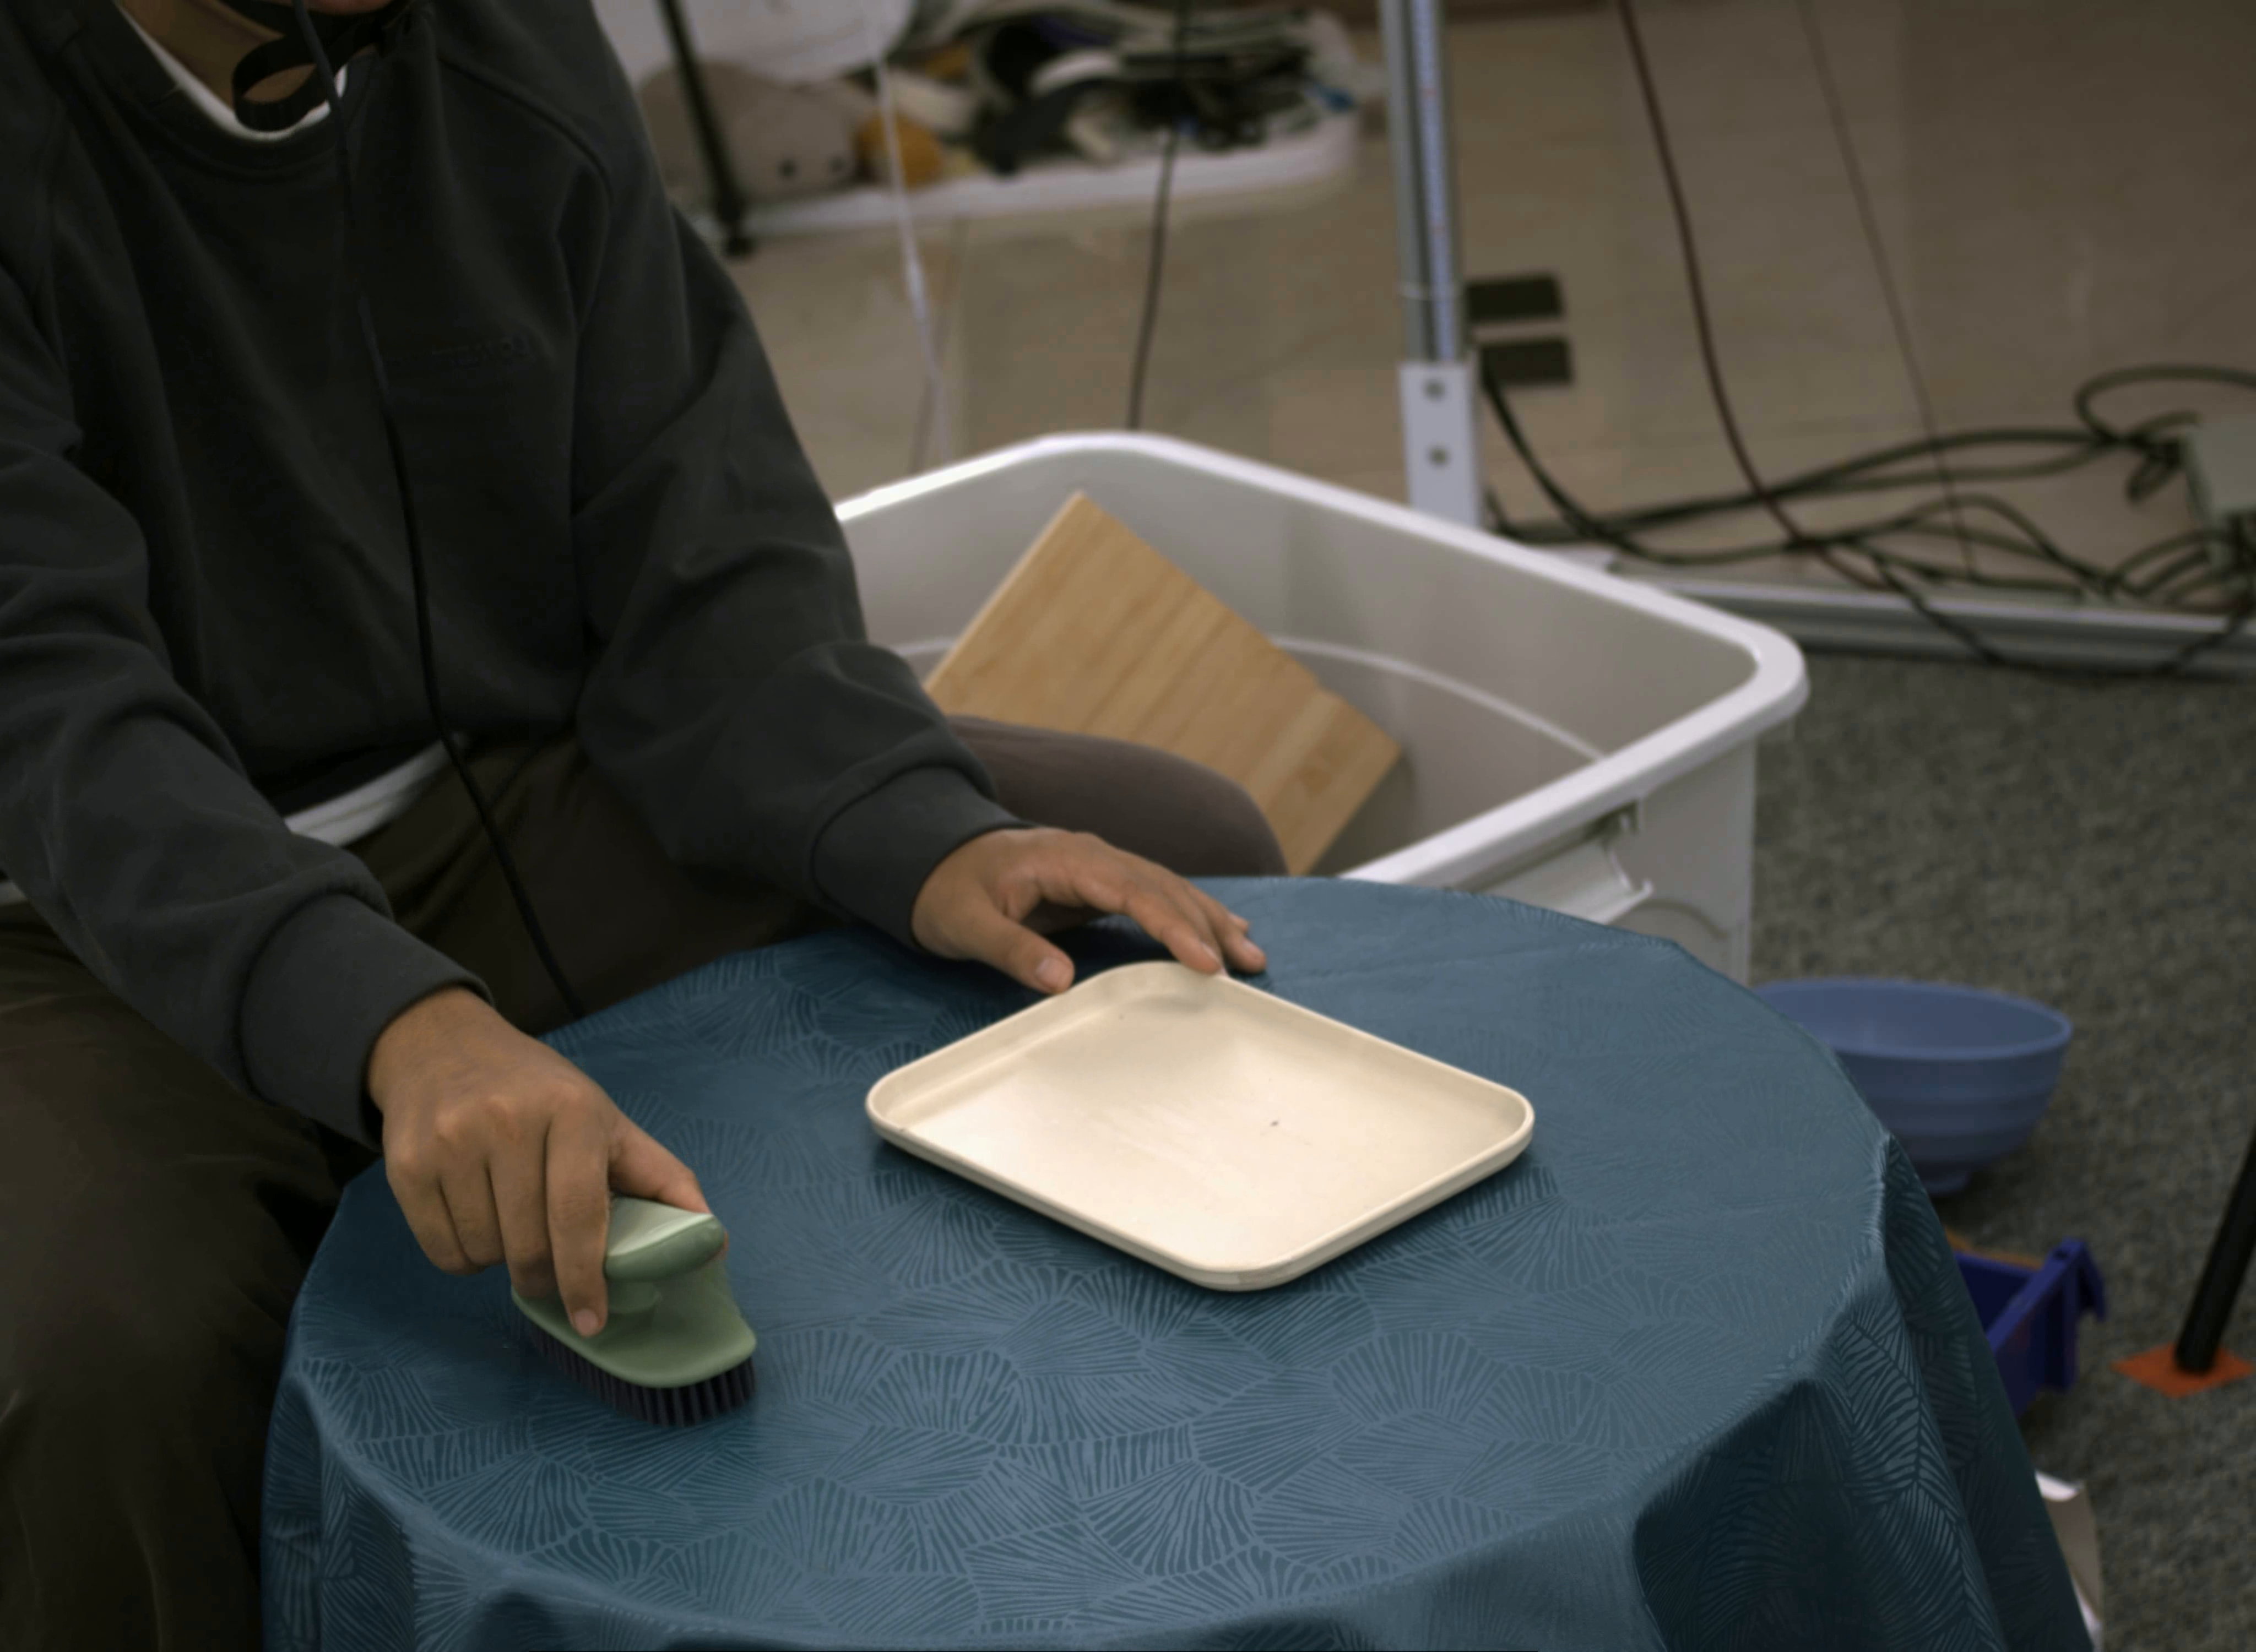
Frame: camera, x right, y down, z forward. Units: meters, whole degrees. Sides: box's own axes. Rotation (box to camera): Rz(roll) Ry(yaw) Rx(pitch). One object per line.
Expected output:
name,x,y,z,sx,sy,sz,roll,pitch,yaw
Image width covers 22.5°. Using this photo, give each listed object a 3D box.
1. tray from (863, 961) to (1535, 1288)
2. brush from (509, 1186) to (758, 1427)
tray,0.026,0.114,2.175,0.170,0.018,0.237,-24,30,-35
brush,-0.179,0.172,2.056,0.059,0.076,0.122,-21,15,-31
